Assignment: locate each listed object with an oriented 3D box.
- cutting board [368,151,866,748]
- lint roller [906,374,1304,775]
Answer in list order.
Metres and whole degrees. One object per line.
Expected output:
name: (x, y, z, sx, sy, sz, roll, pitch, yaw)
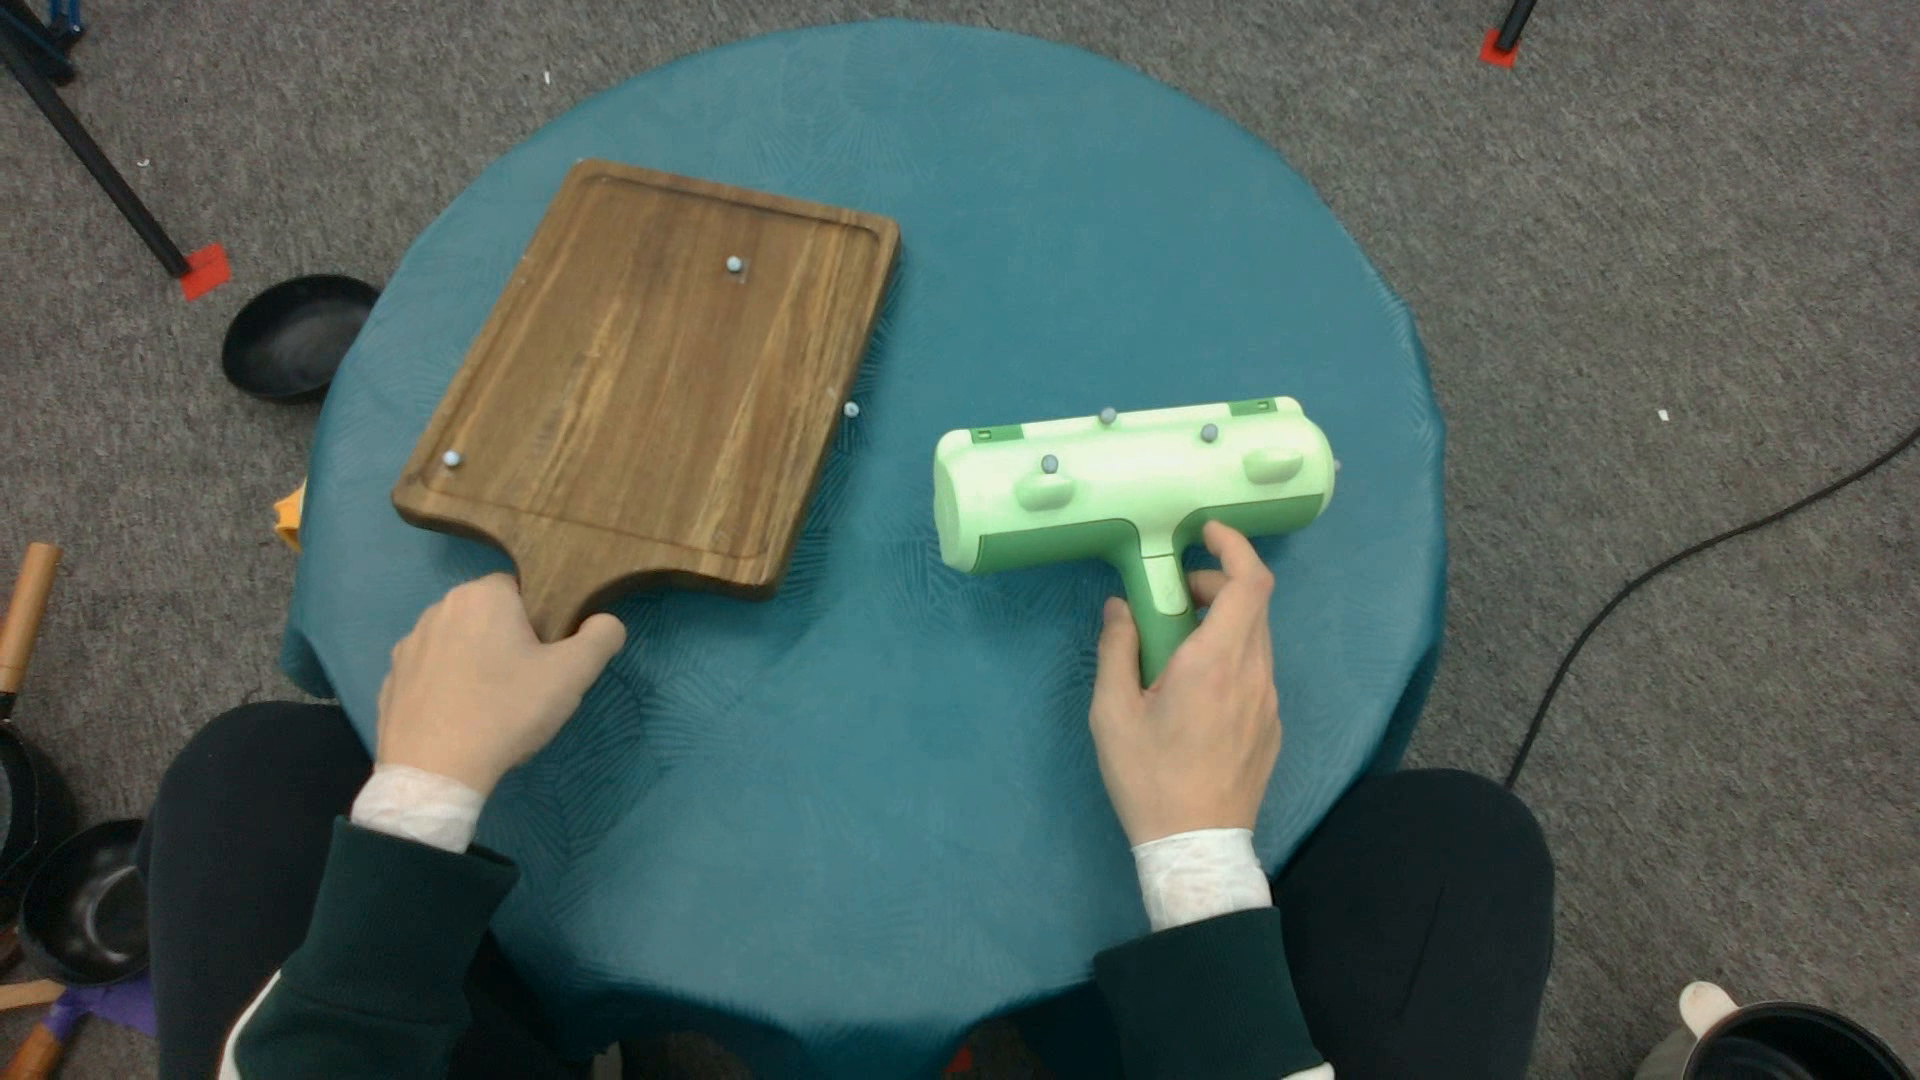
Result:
cutting board: (-0.180, -0.060, 0.704, 0.201, 0.023, 0.354, 10, 59, 5)
lint roller: (0.088, 0.013, 0.639, 0.199, 0.082, 0.184, -9, 69, -20)
